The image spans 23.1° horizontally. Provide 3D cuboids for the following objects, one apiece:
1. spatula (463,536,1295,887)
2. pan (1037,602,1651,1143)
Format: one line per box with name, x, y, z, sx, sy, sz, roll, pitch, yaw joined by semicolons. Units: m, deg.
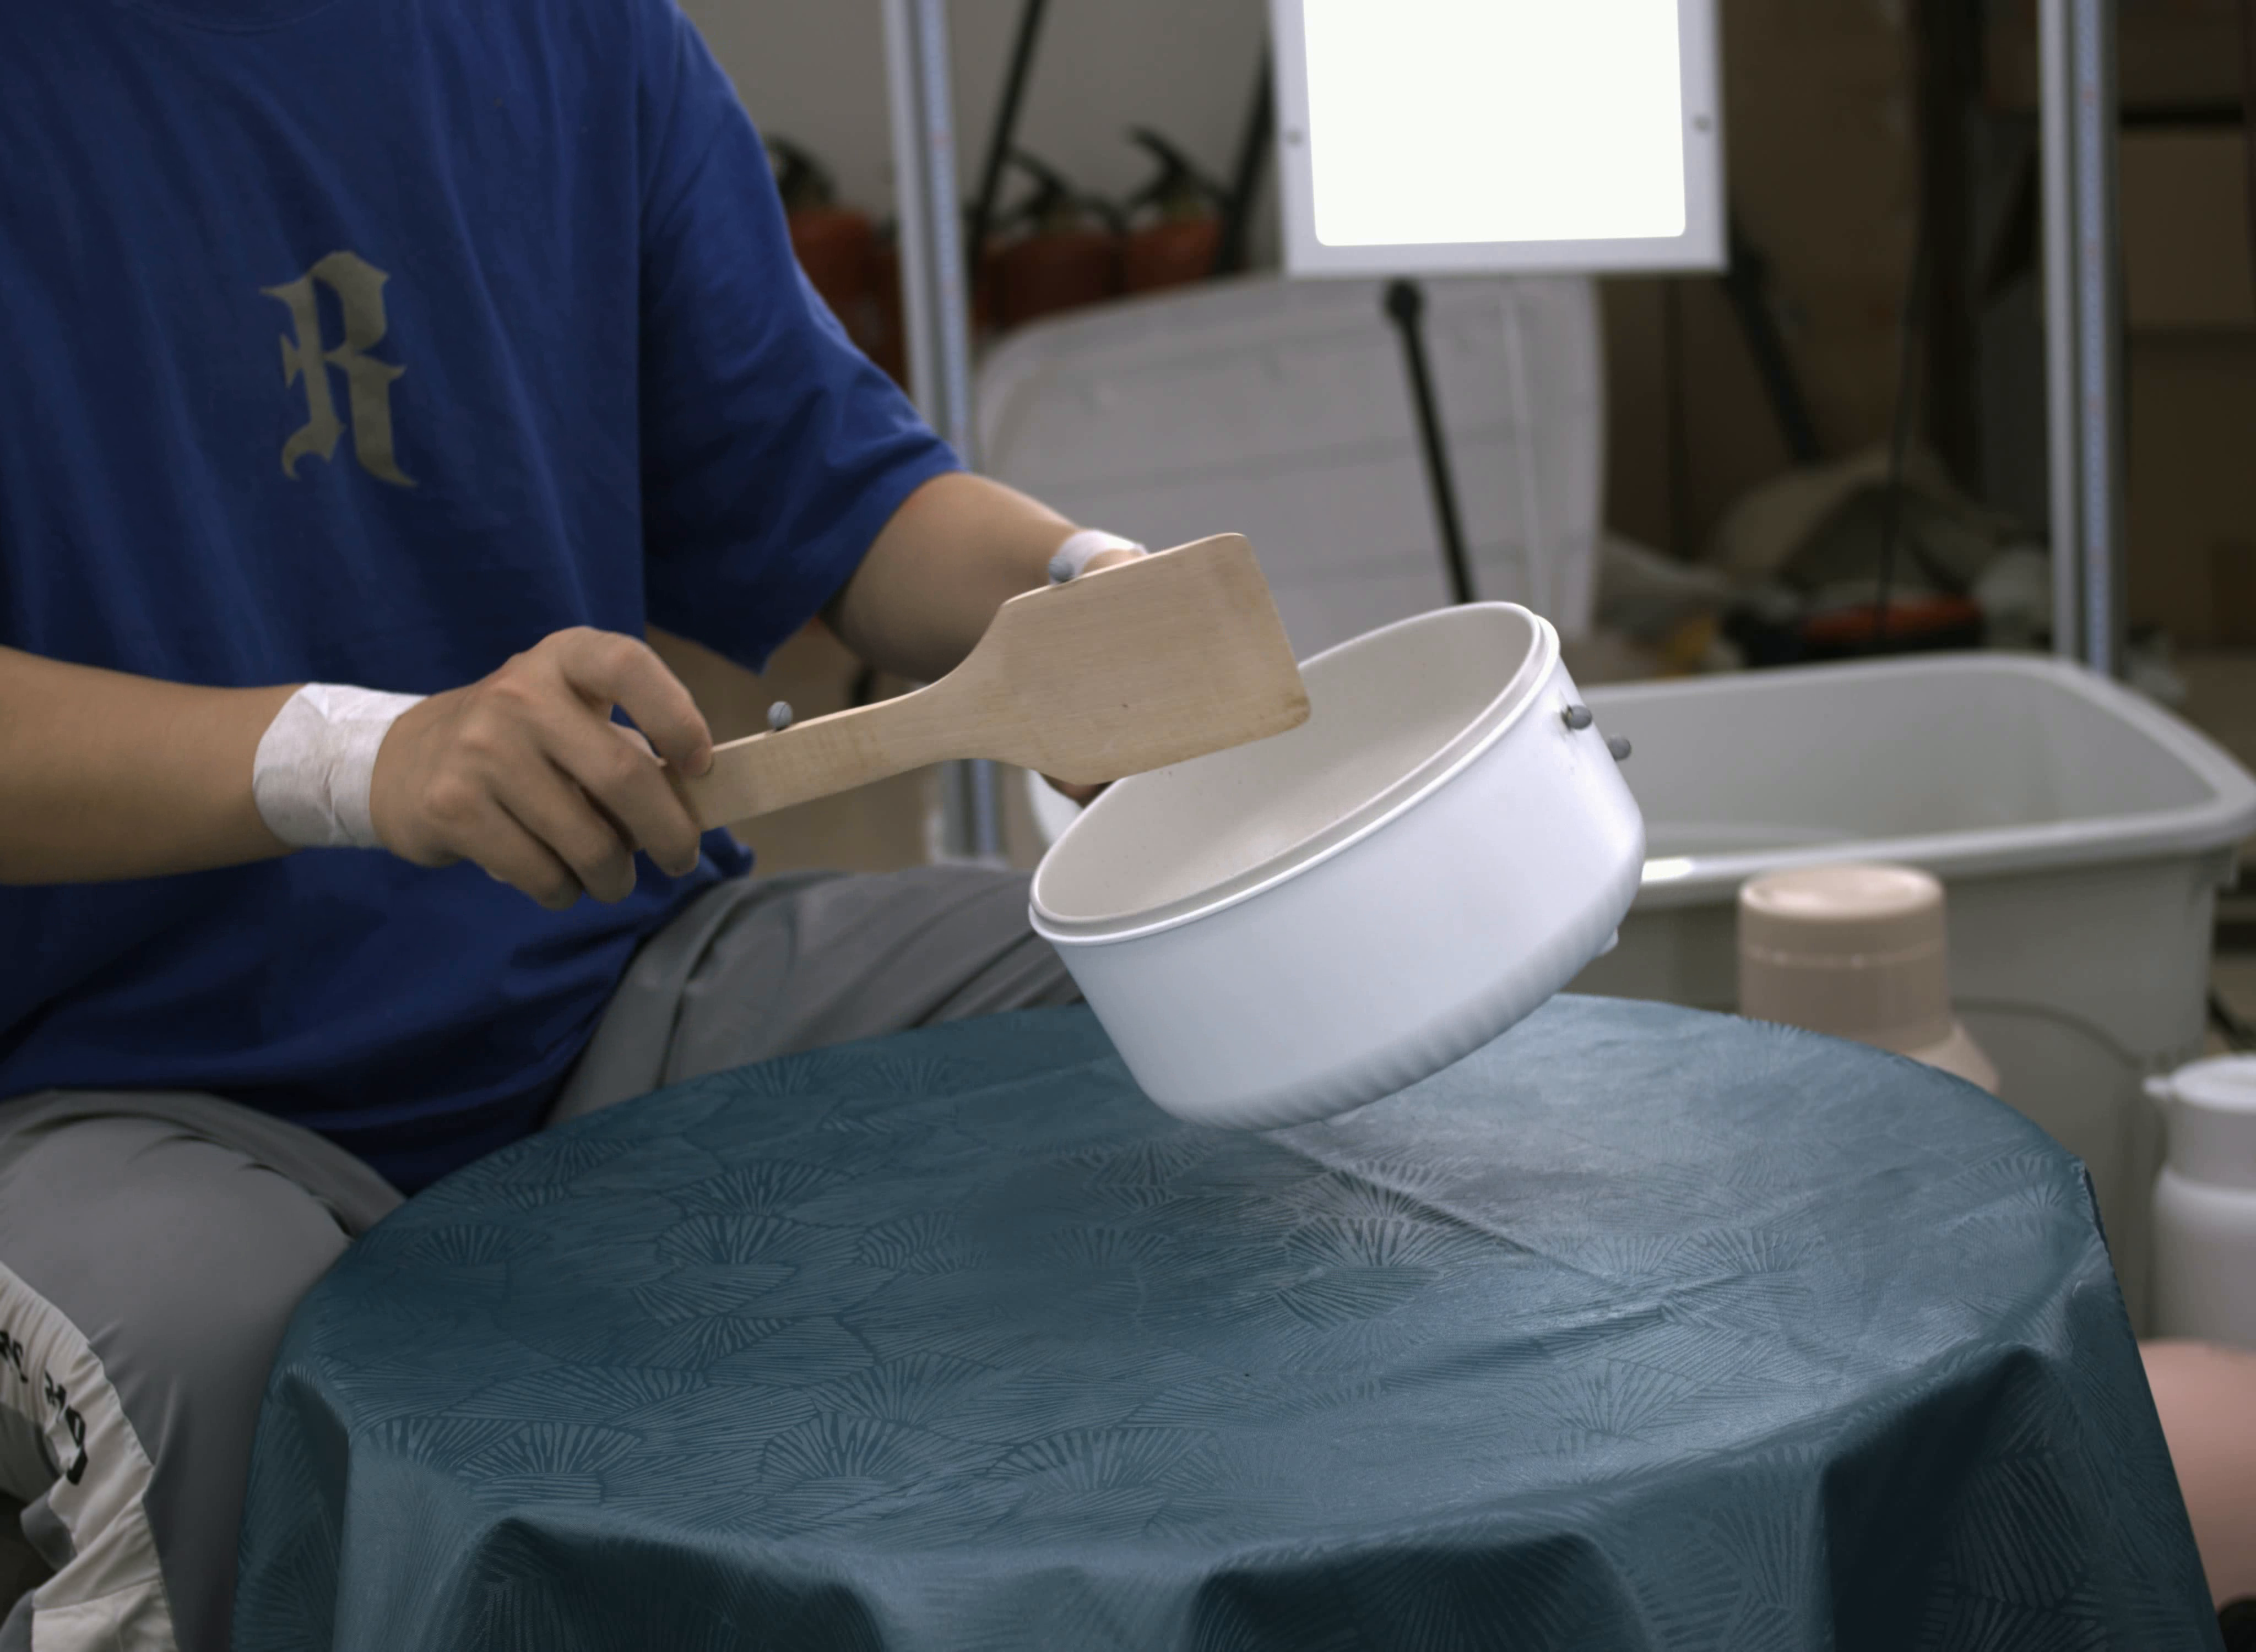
spatula;-0.090;-0.027;1.807;0.297;0.072;0.010;-15;21;22
pan;0.056;0.010;1.925;0.200;0.102;0.358;-35;16;-9
